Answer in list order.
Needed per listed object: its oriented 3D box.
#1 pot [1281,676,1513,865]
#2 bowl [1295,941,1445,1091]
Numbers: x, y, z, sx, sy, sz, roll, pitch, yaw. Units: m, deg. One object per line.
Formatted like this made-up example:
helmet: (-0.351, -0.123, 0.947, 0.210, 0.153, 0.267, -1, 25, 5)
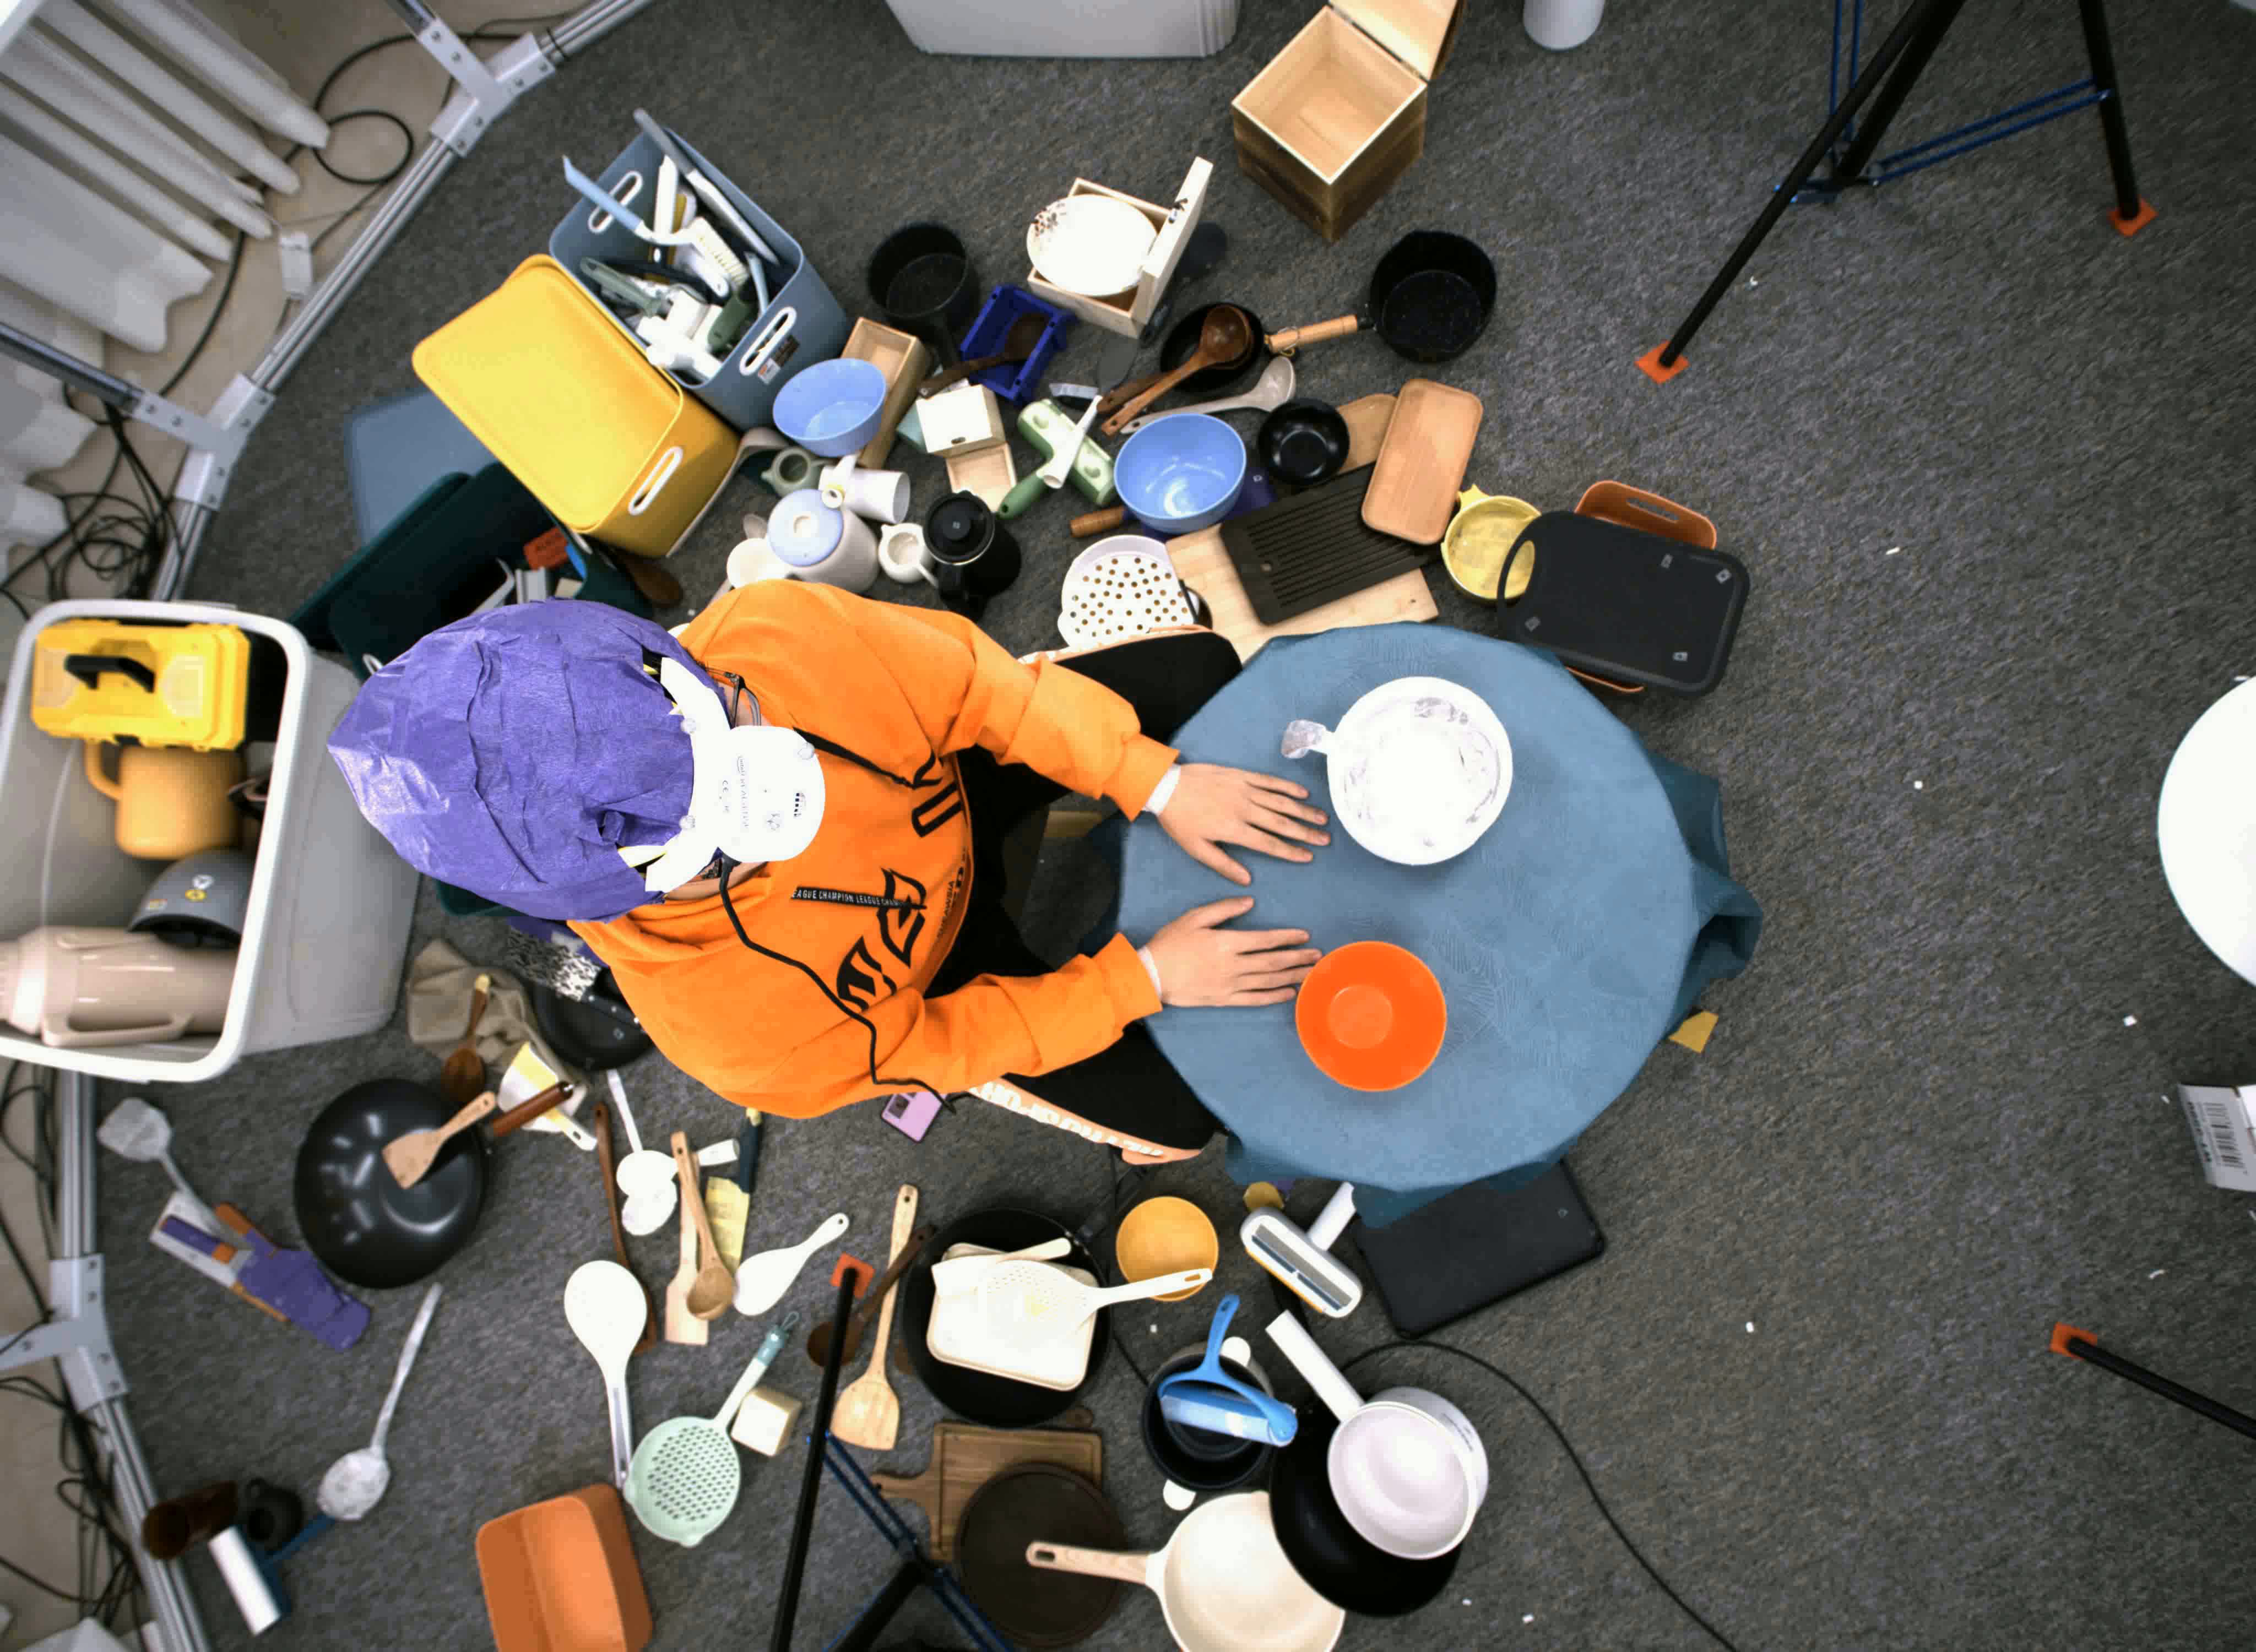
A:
pot: (0.267, -0.061, 1.398, 0.234, 0.137, 0.178, 17, 88, 11)
bowl: (0.247, 0.192, 1.410, 0.148, 0.105, 0.147, -1, 85, 12)
